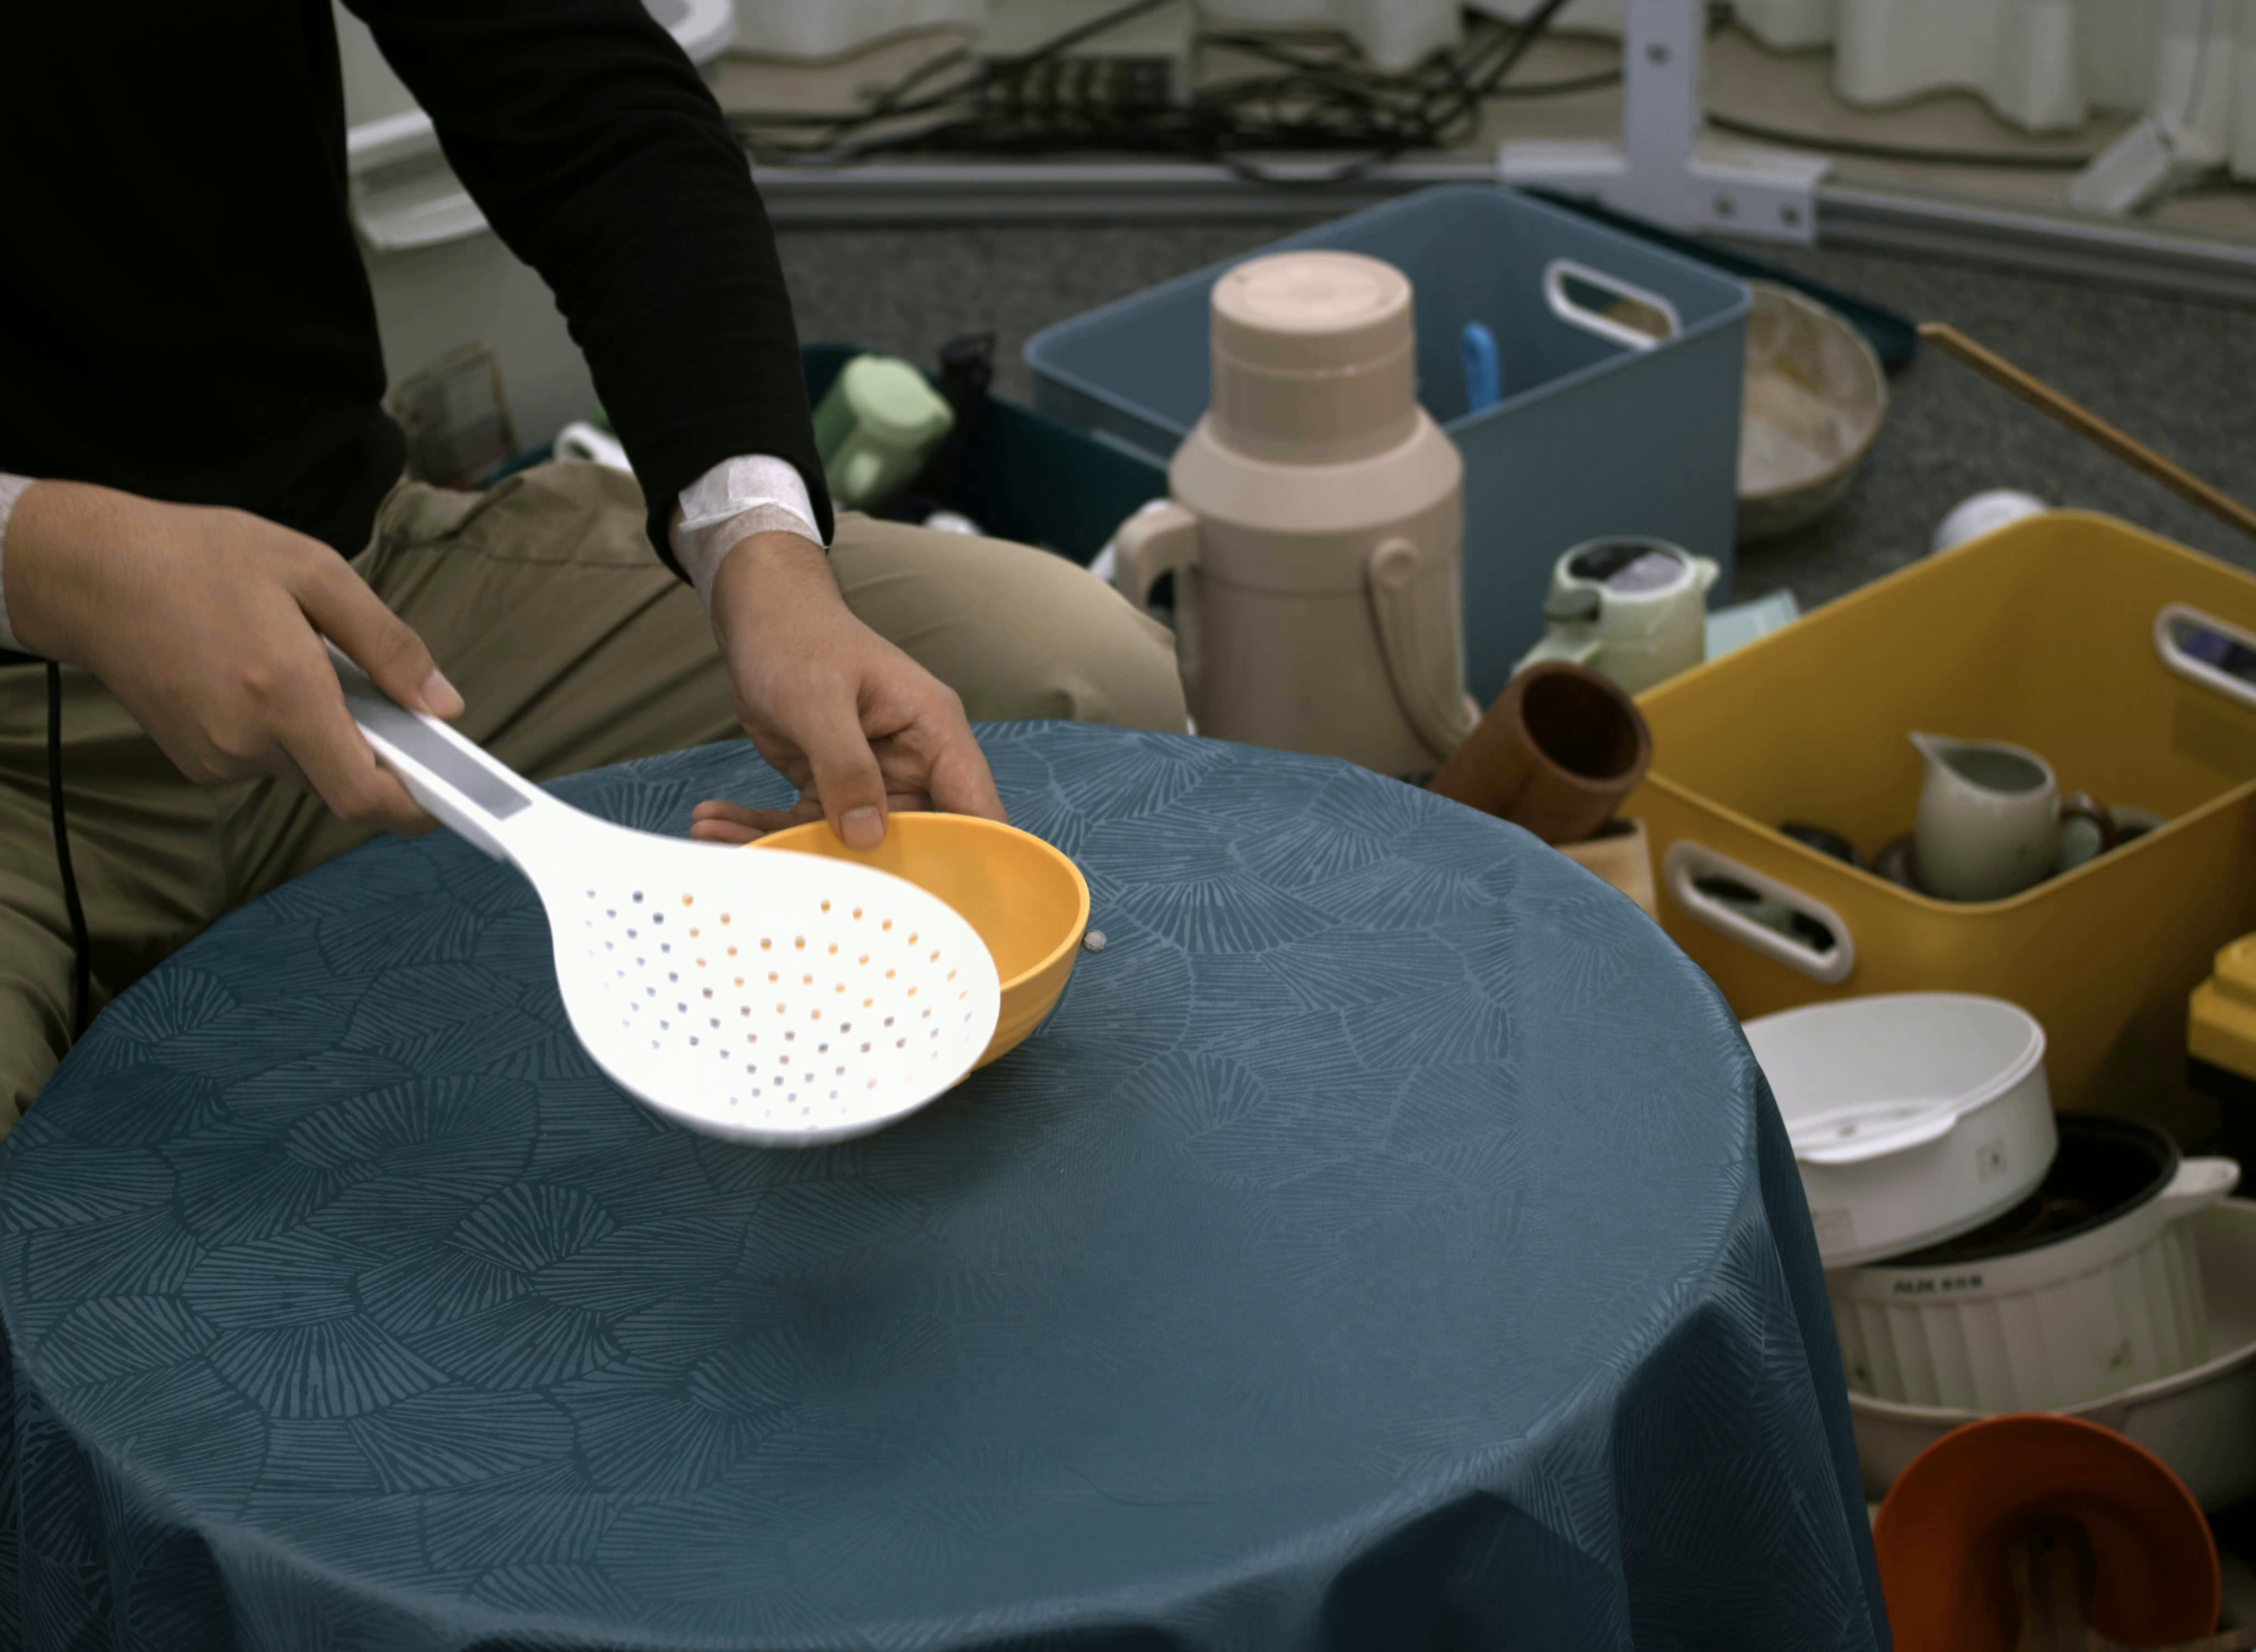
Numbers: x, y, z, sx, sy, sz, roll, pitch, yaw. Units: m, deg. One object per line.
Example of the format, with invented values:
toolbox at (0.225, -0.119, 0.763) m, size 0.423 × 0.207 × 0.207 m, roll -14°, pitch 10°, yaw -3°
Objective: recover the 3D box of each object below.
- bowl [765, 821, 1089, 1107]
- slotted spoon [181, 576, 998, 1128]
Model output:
bowl at (-0.085, 0.057, 1.937) m, size 0.144 × 0.059 × 0.147 m, roll -1°, pitch 26°, yaw 1°
slotted spoon at (-0.187, 0.003, 1.825) m, size 0.350 × 0.045 × 0.138 m, roll 35°, pitch 46°, yaw 28°
